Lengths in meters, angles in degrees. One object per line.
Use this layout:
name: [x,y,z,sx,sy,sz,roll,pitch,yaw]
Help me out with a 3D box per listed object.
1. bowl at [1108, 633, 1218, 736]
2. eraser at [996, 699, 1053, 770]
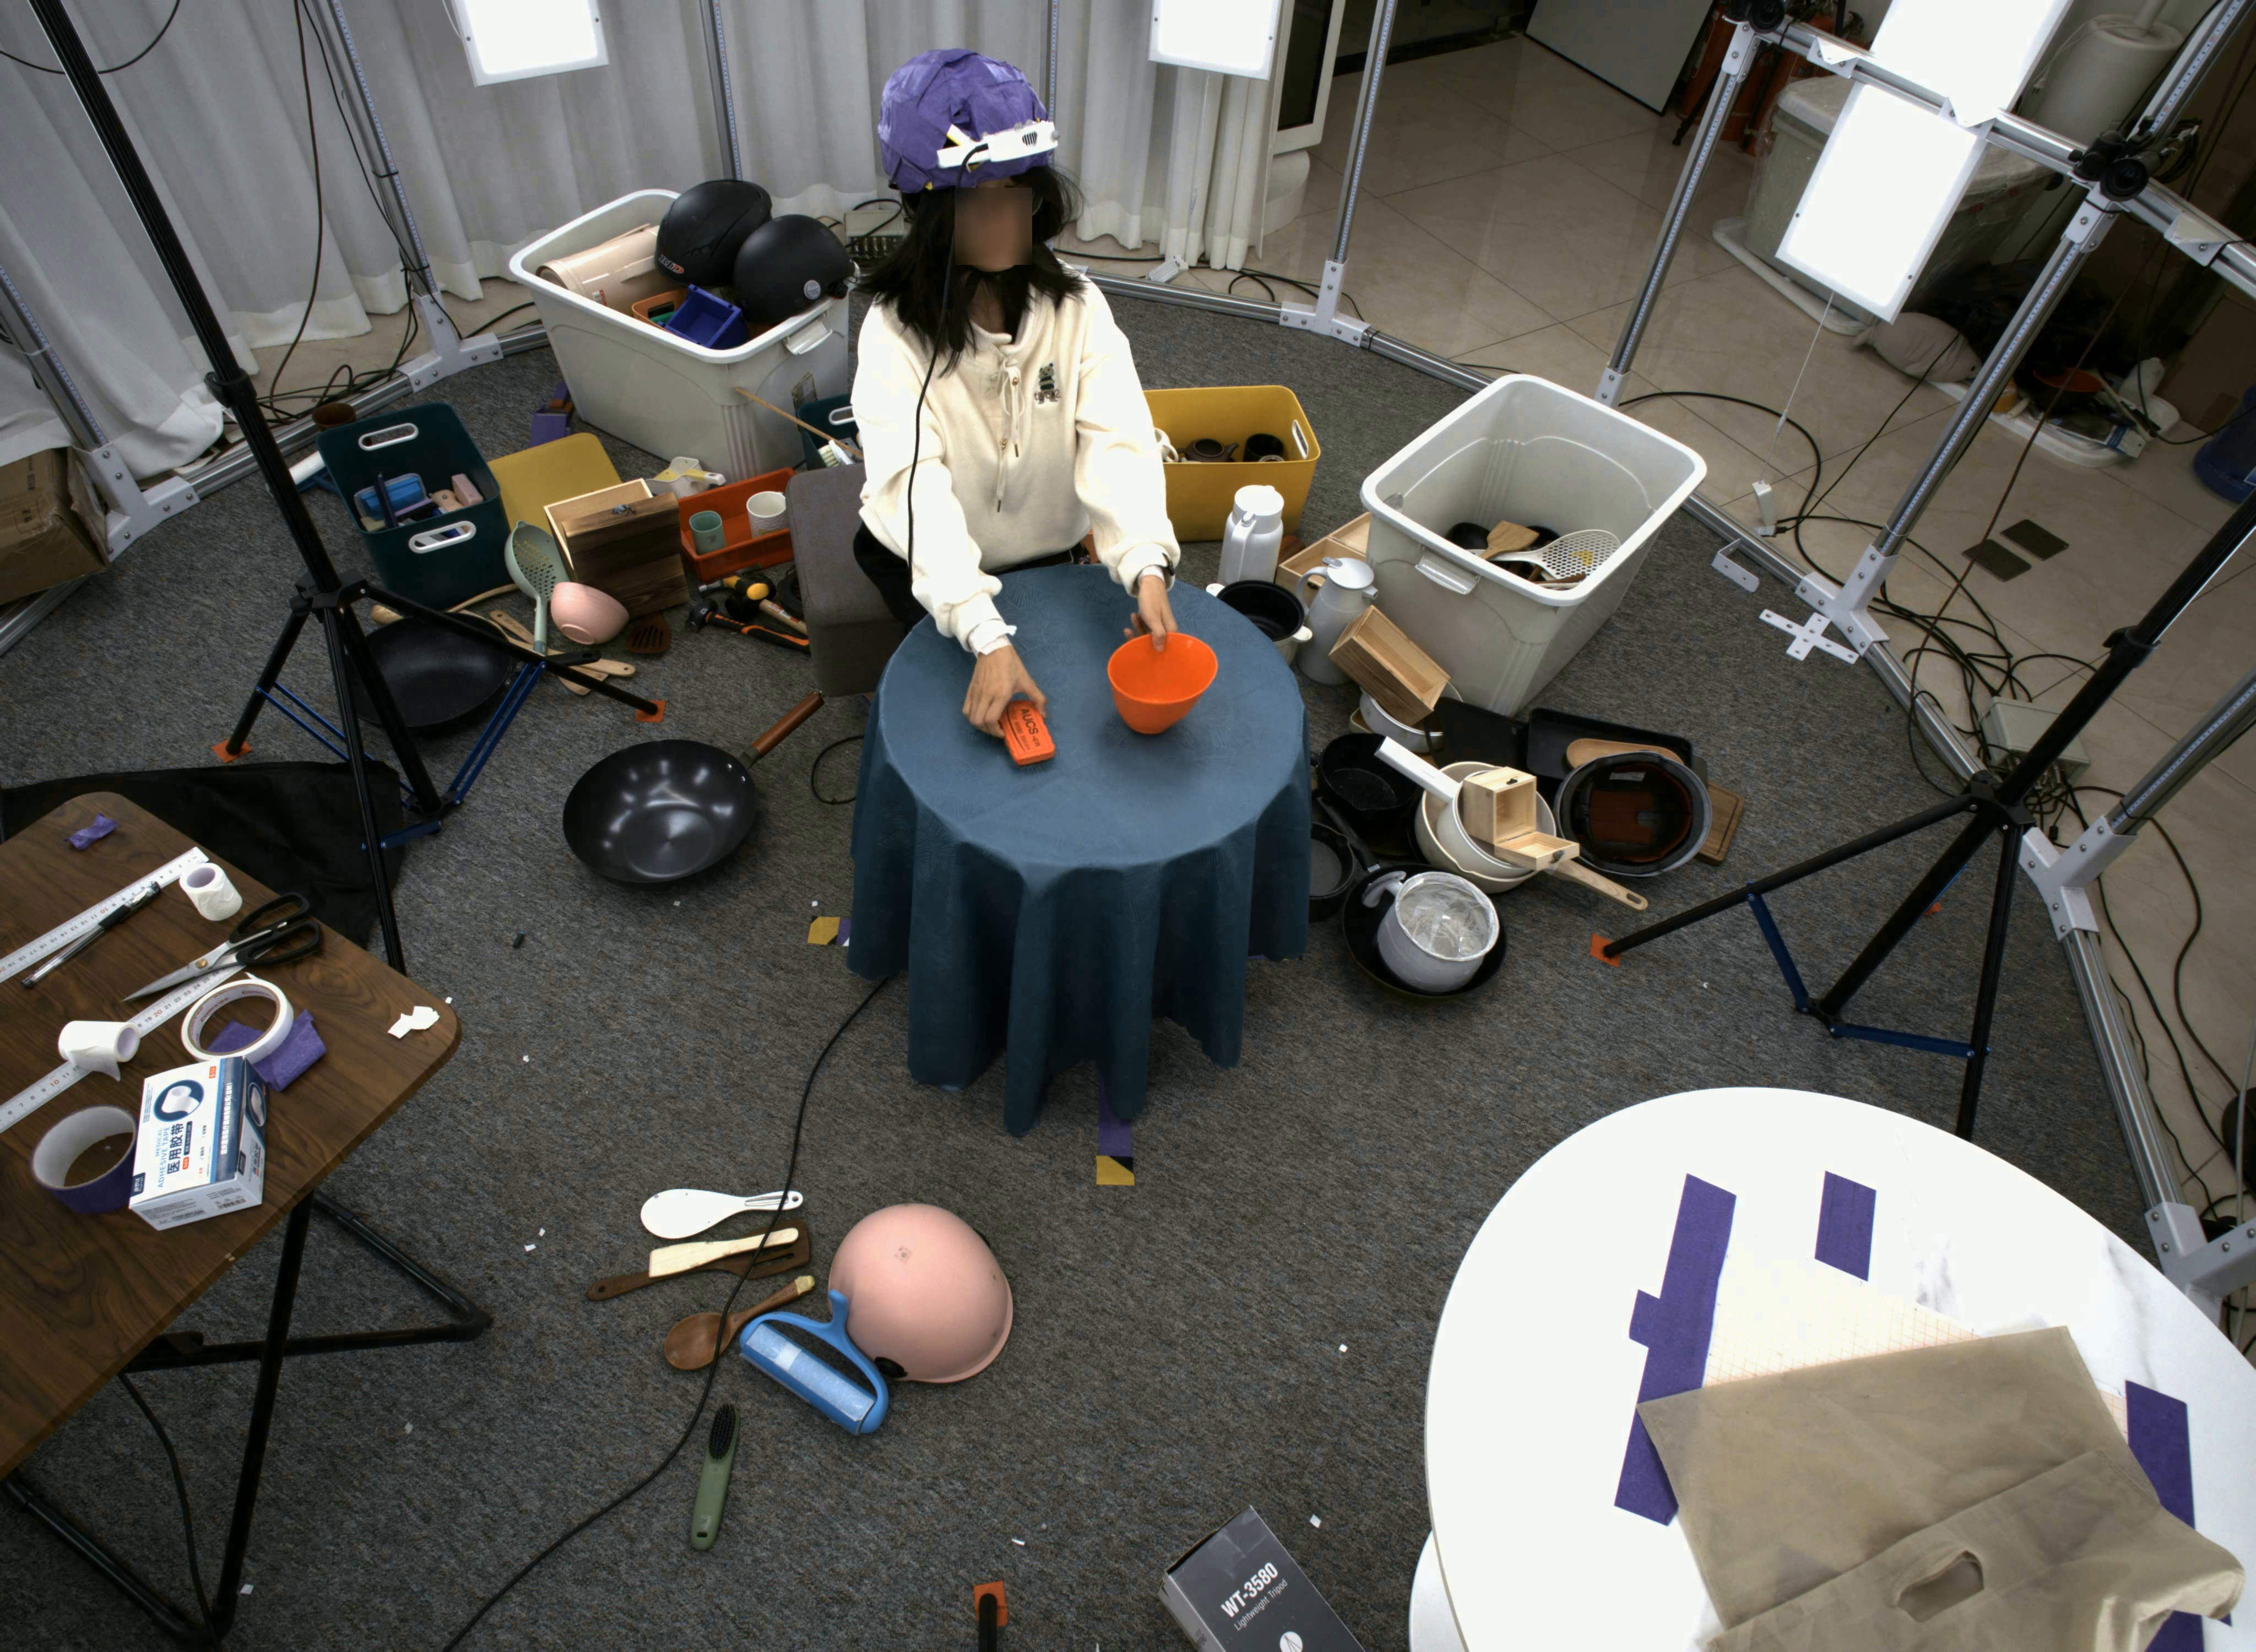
bowl: [0.044,-0.185,1.766,0.148,0.102,0.152,3,47,-3]
eraser: [-0.142,-0.126,1.755,0.059,0.022,0.110,-13,51,-12]
